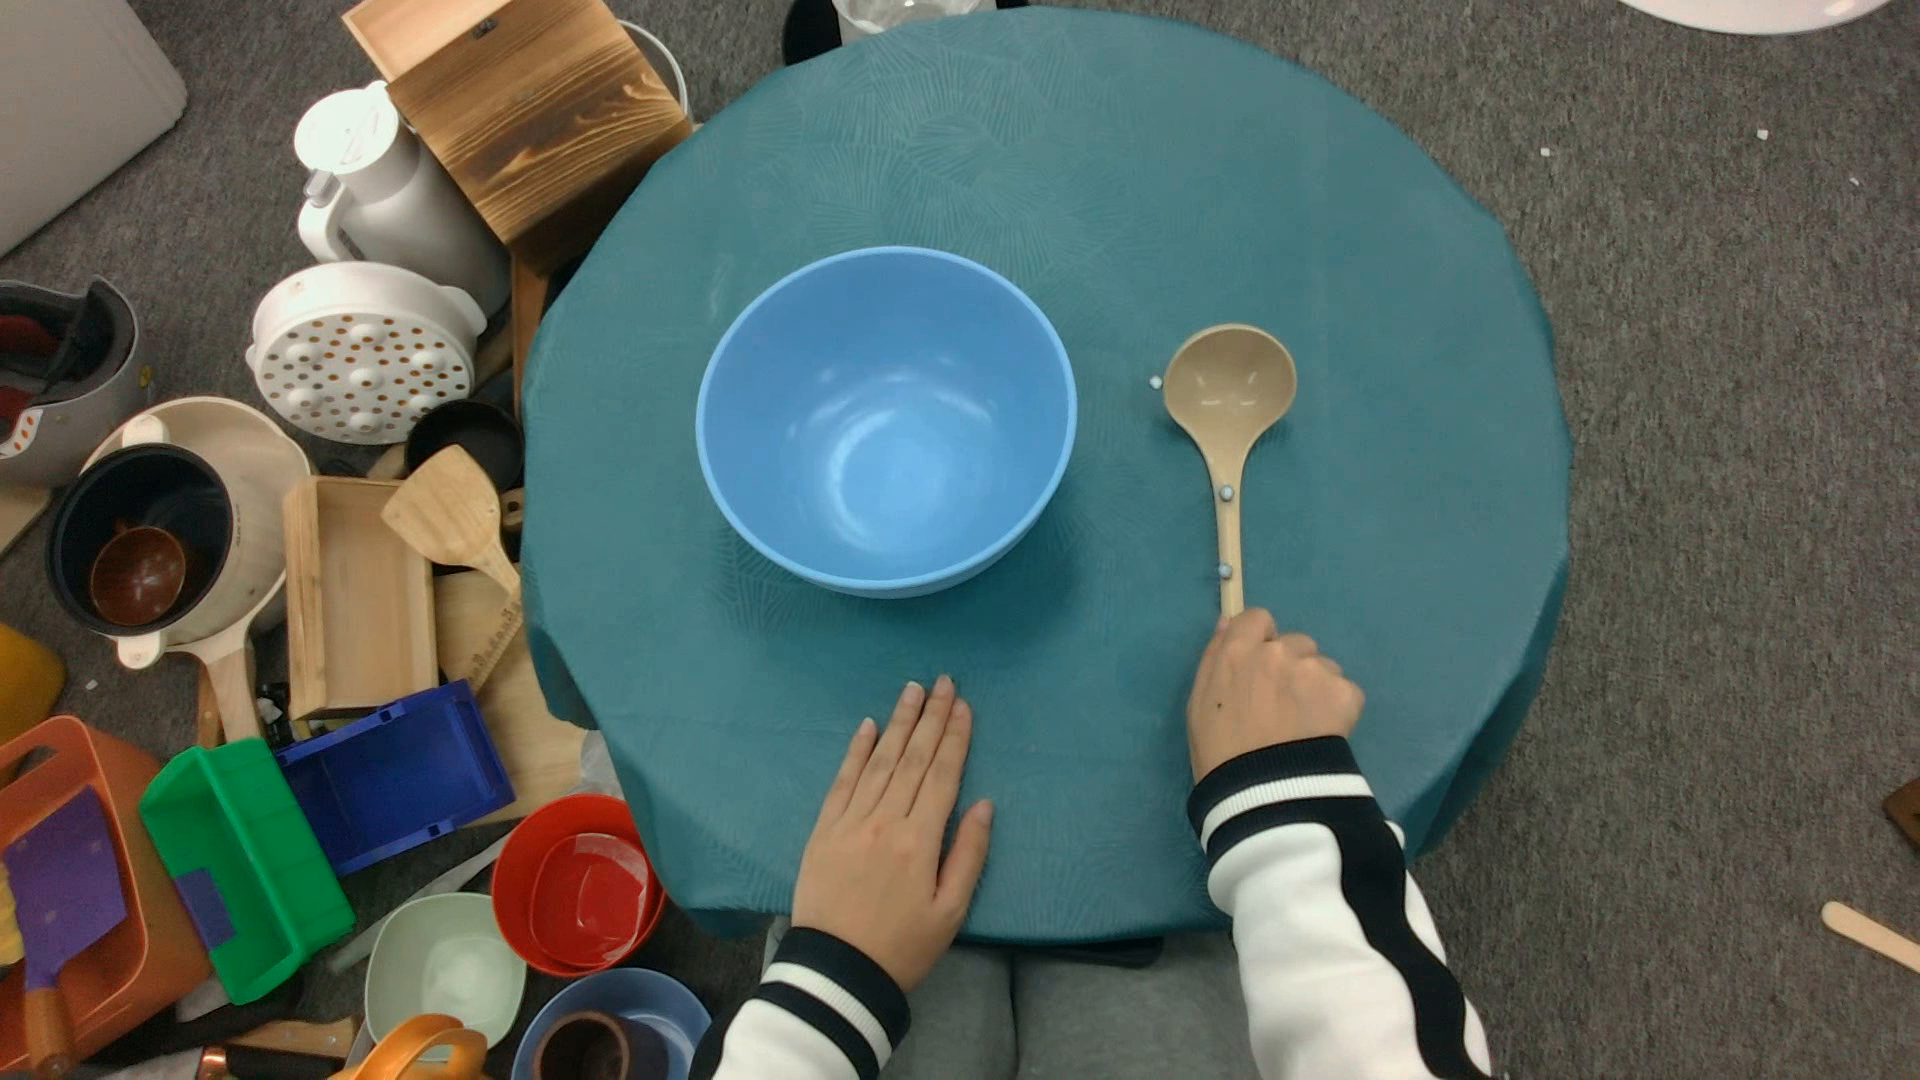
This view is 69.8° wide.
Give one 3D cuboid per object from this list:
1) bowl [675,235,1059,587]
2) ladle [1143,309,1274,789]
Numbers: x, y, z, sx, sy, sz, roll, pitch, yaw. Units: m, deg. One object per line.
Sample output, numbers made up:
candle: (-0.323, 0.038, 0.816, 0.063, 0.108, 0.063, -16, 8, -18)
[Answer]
bowl: (-0.047, -0.056, 0.746, 0.196, 0.095, 0.197, 0, 68, 1)
ladle: (0.138, -0.002, 0.724, 0.072, 0.072, 0.255, -2, 68, 3)
